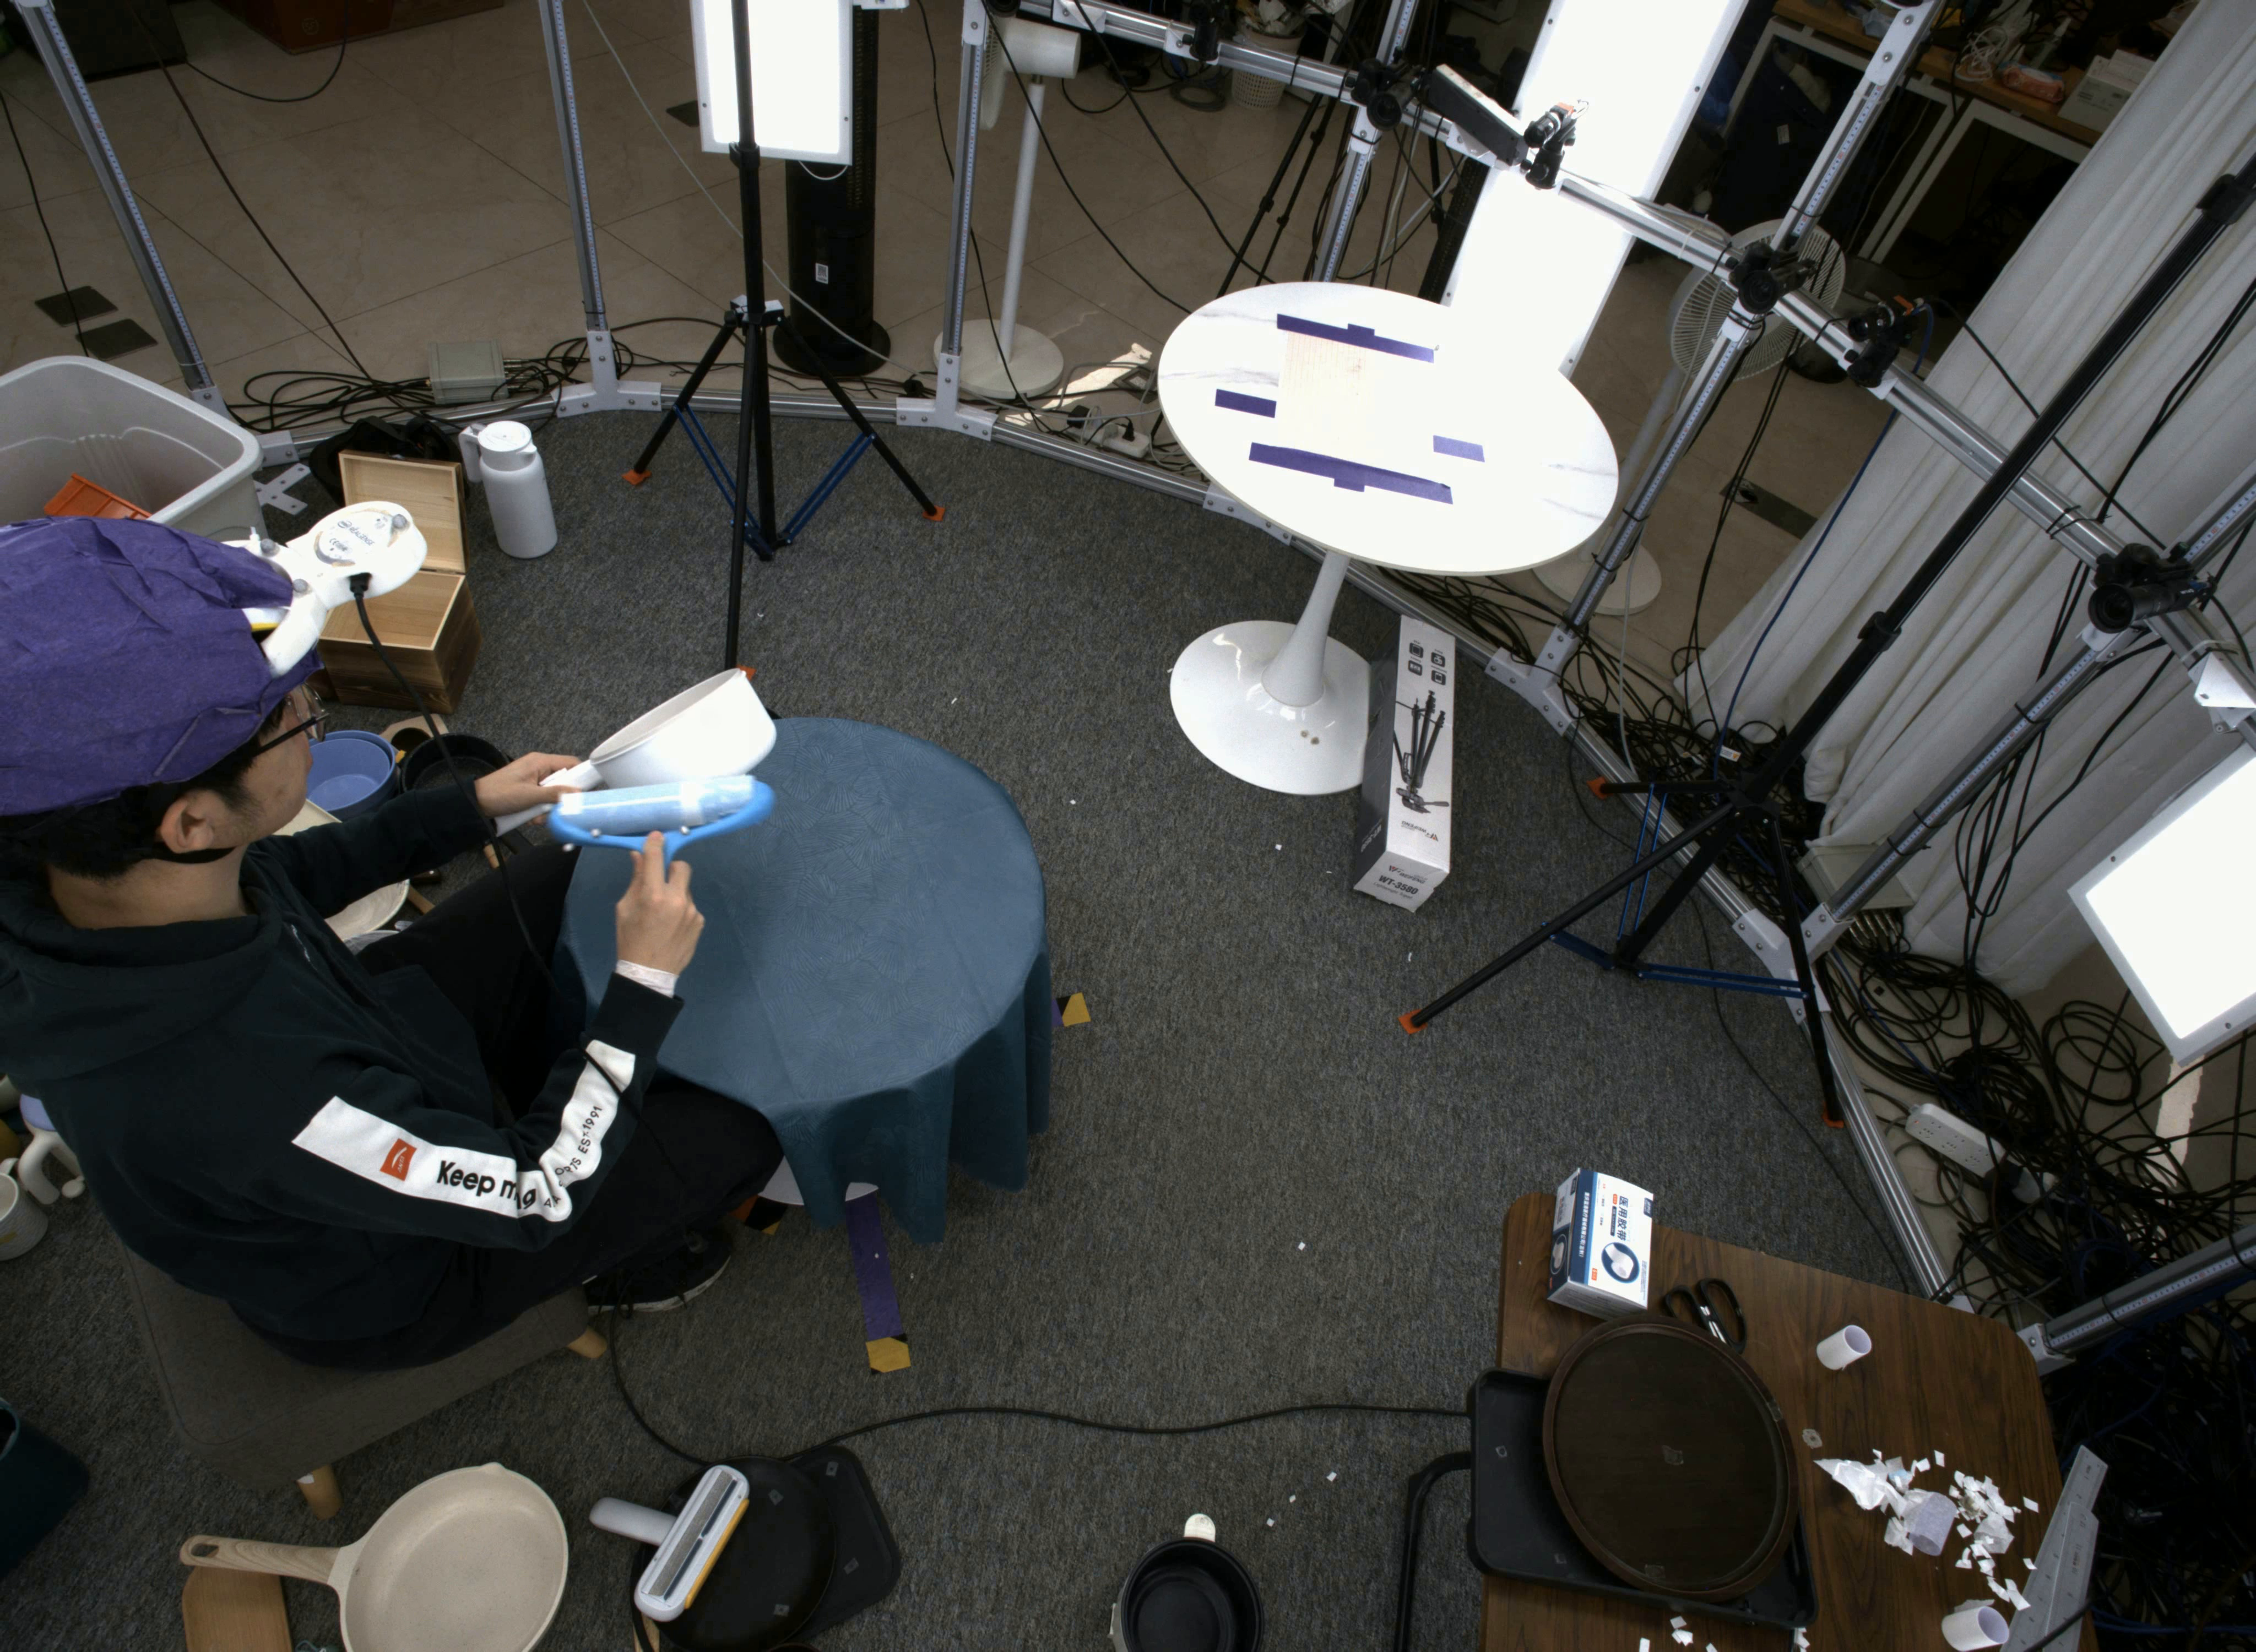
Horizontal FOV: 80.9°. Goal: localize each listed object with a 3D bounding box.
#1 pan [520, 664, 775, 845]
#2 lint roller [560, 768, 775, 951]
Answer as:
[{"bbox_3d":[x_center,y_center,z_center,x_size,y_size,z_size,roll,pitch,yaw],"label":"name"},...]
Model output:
[{"bbox_3d":[-0.570,-0.053,1.482,0.351,0.105,0.197,-28,22,7],"label":"pan"},{"bbox_3d":[-0.469,0.029,1.304,0.229,0.069,0.178,-7,67,-13],"label":"lint roller"}]
